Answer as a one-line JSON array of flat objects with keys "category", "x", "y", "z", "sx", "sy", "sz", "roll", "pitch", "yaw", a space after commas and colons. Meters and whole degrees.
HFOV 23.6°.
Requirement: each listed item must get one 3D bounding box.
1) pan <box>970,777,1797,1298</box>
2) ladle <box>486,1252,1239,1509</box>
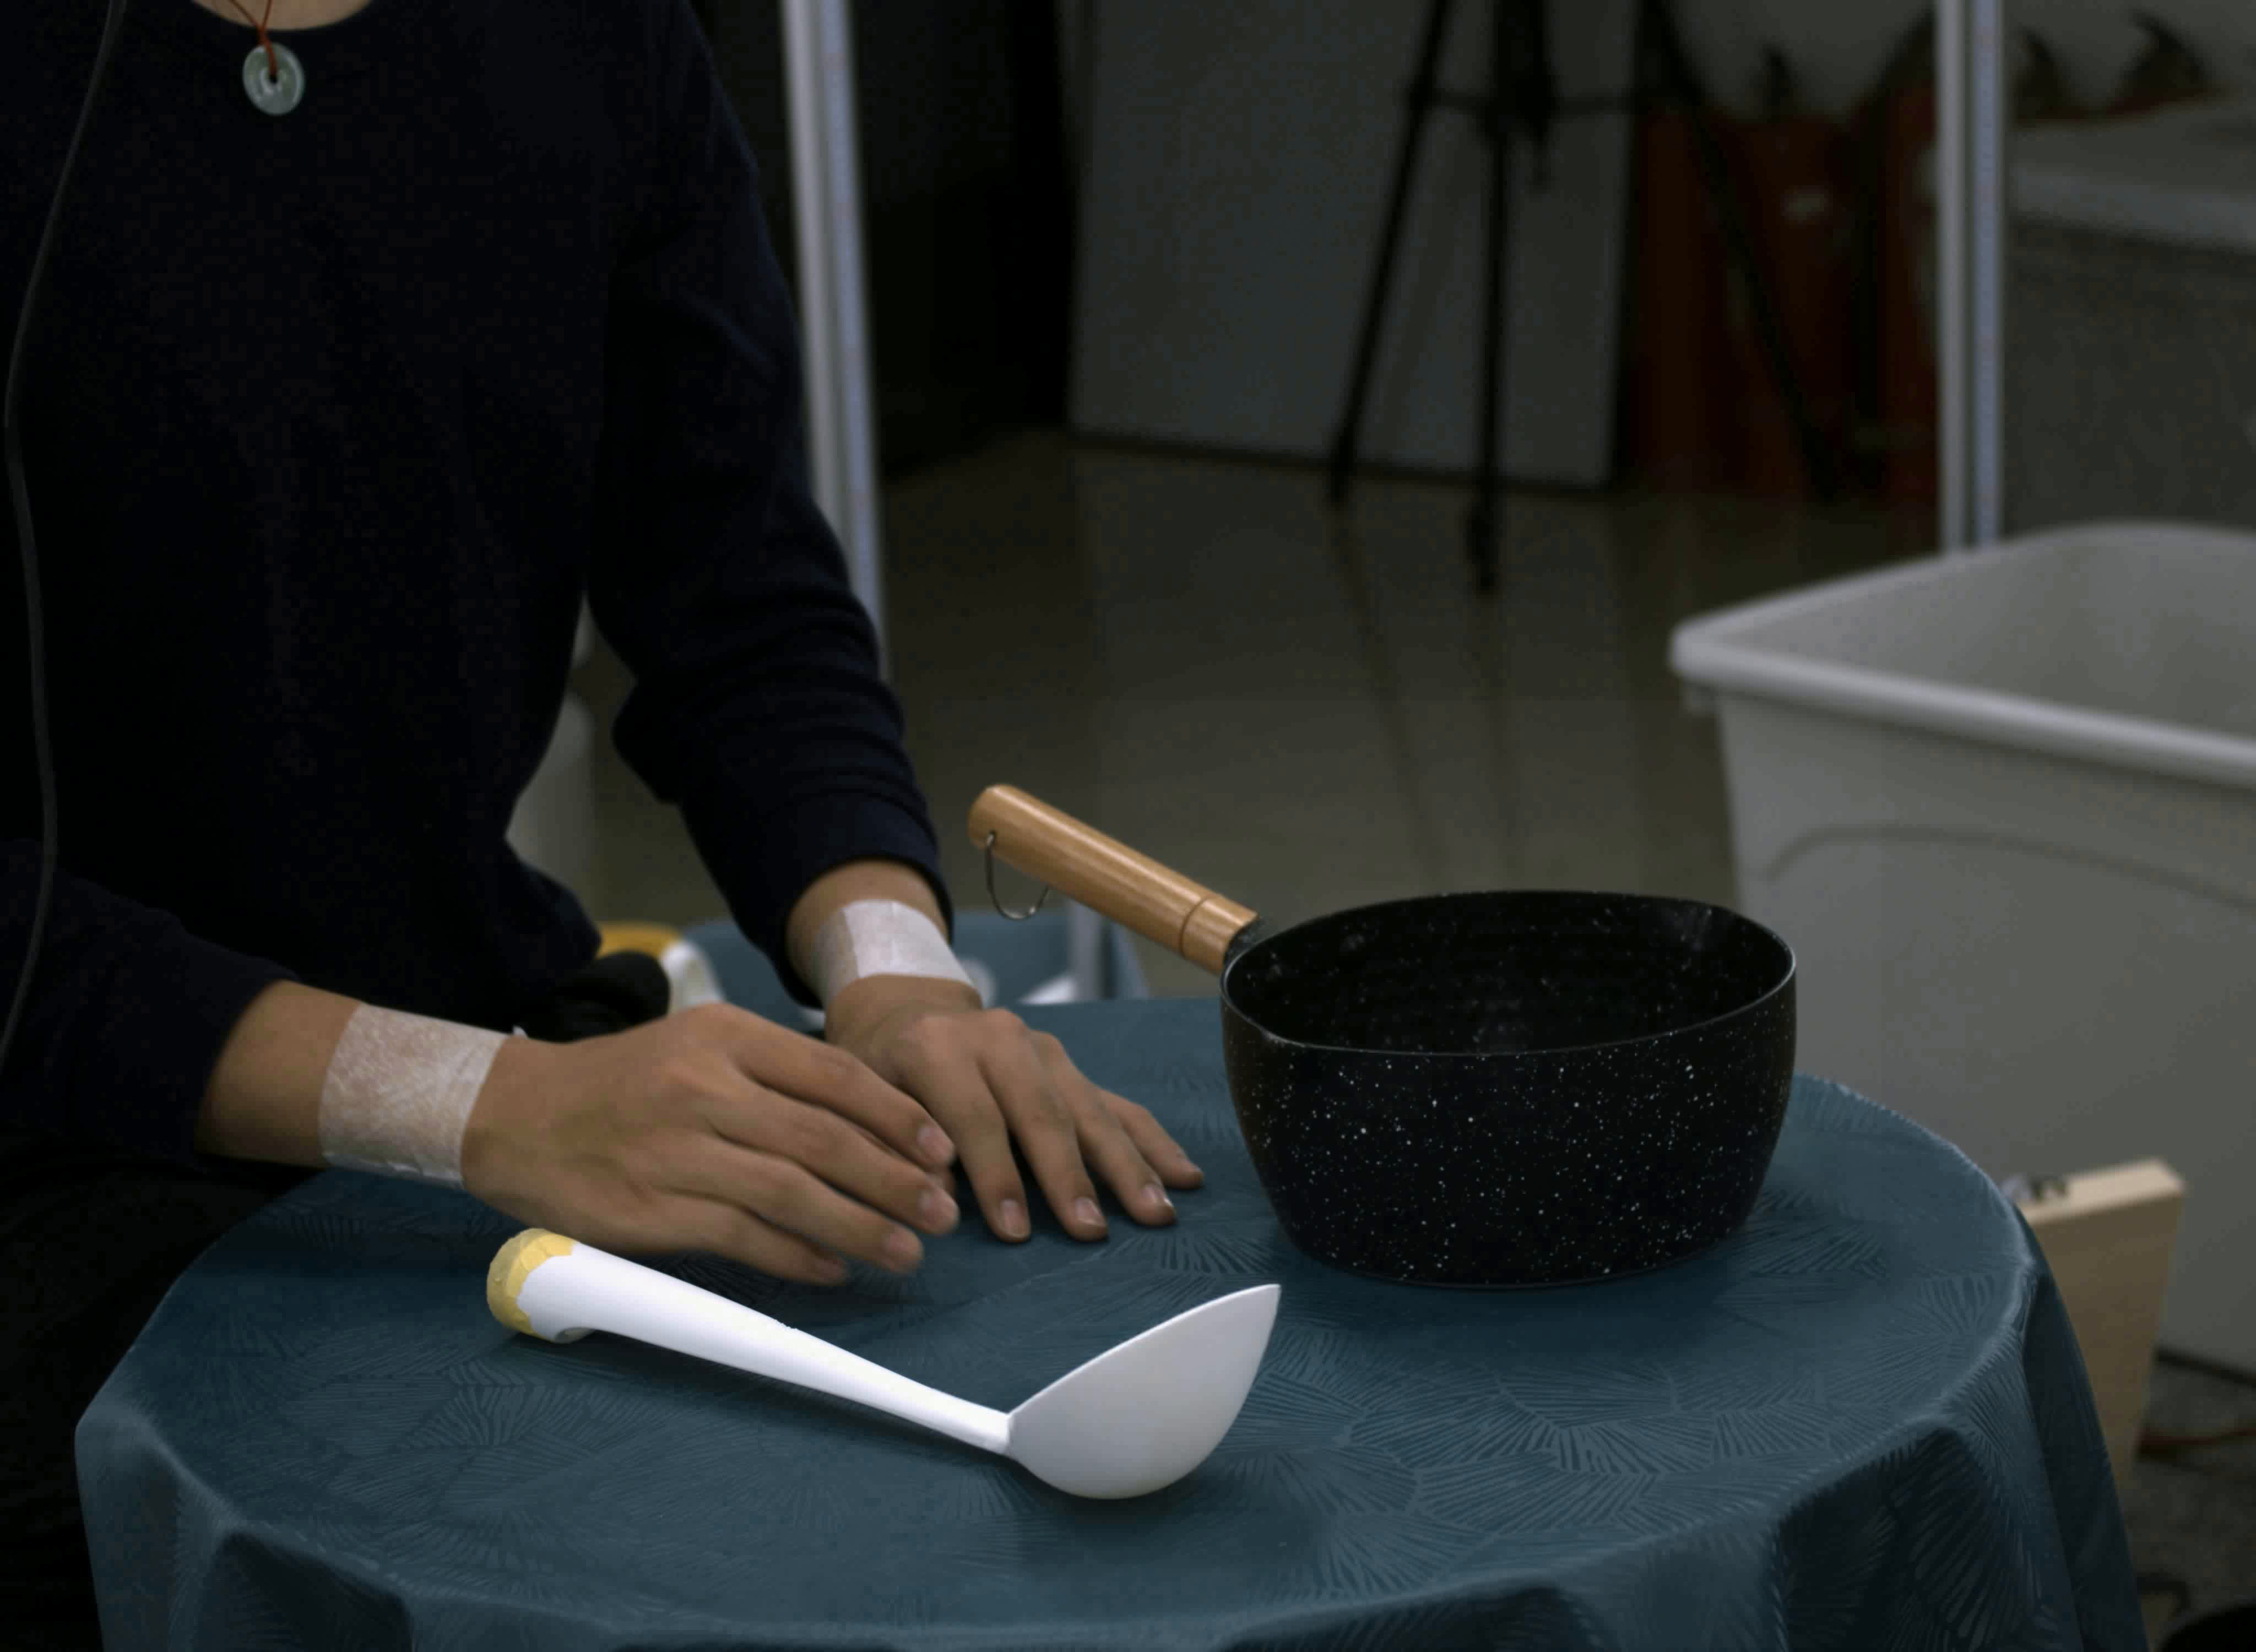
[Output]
[{"category": "pan", "x": 0.067, "y": 0.062, "z": 1.764, "sx": 0.203, "sy": 0.109, "sz": 0.346, "roll": -17, "pitch": 20, "yaw": -40}, {"category": "ladle", "x": -0.086, "y": 0.145, "z": 1.565, "sx": 0.295, "sy": 0.070, "sz": 0.088, "roll": 8, "pitch": 25, "yaw": 44}]
